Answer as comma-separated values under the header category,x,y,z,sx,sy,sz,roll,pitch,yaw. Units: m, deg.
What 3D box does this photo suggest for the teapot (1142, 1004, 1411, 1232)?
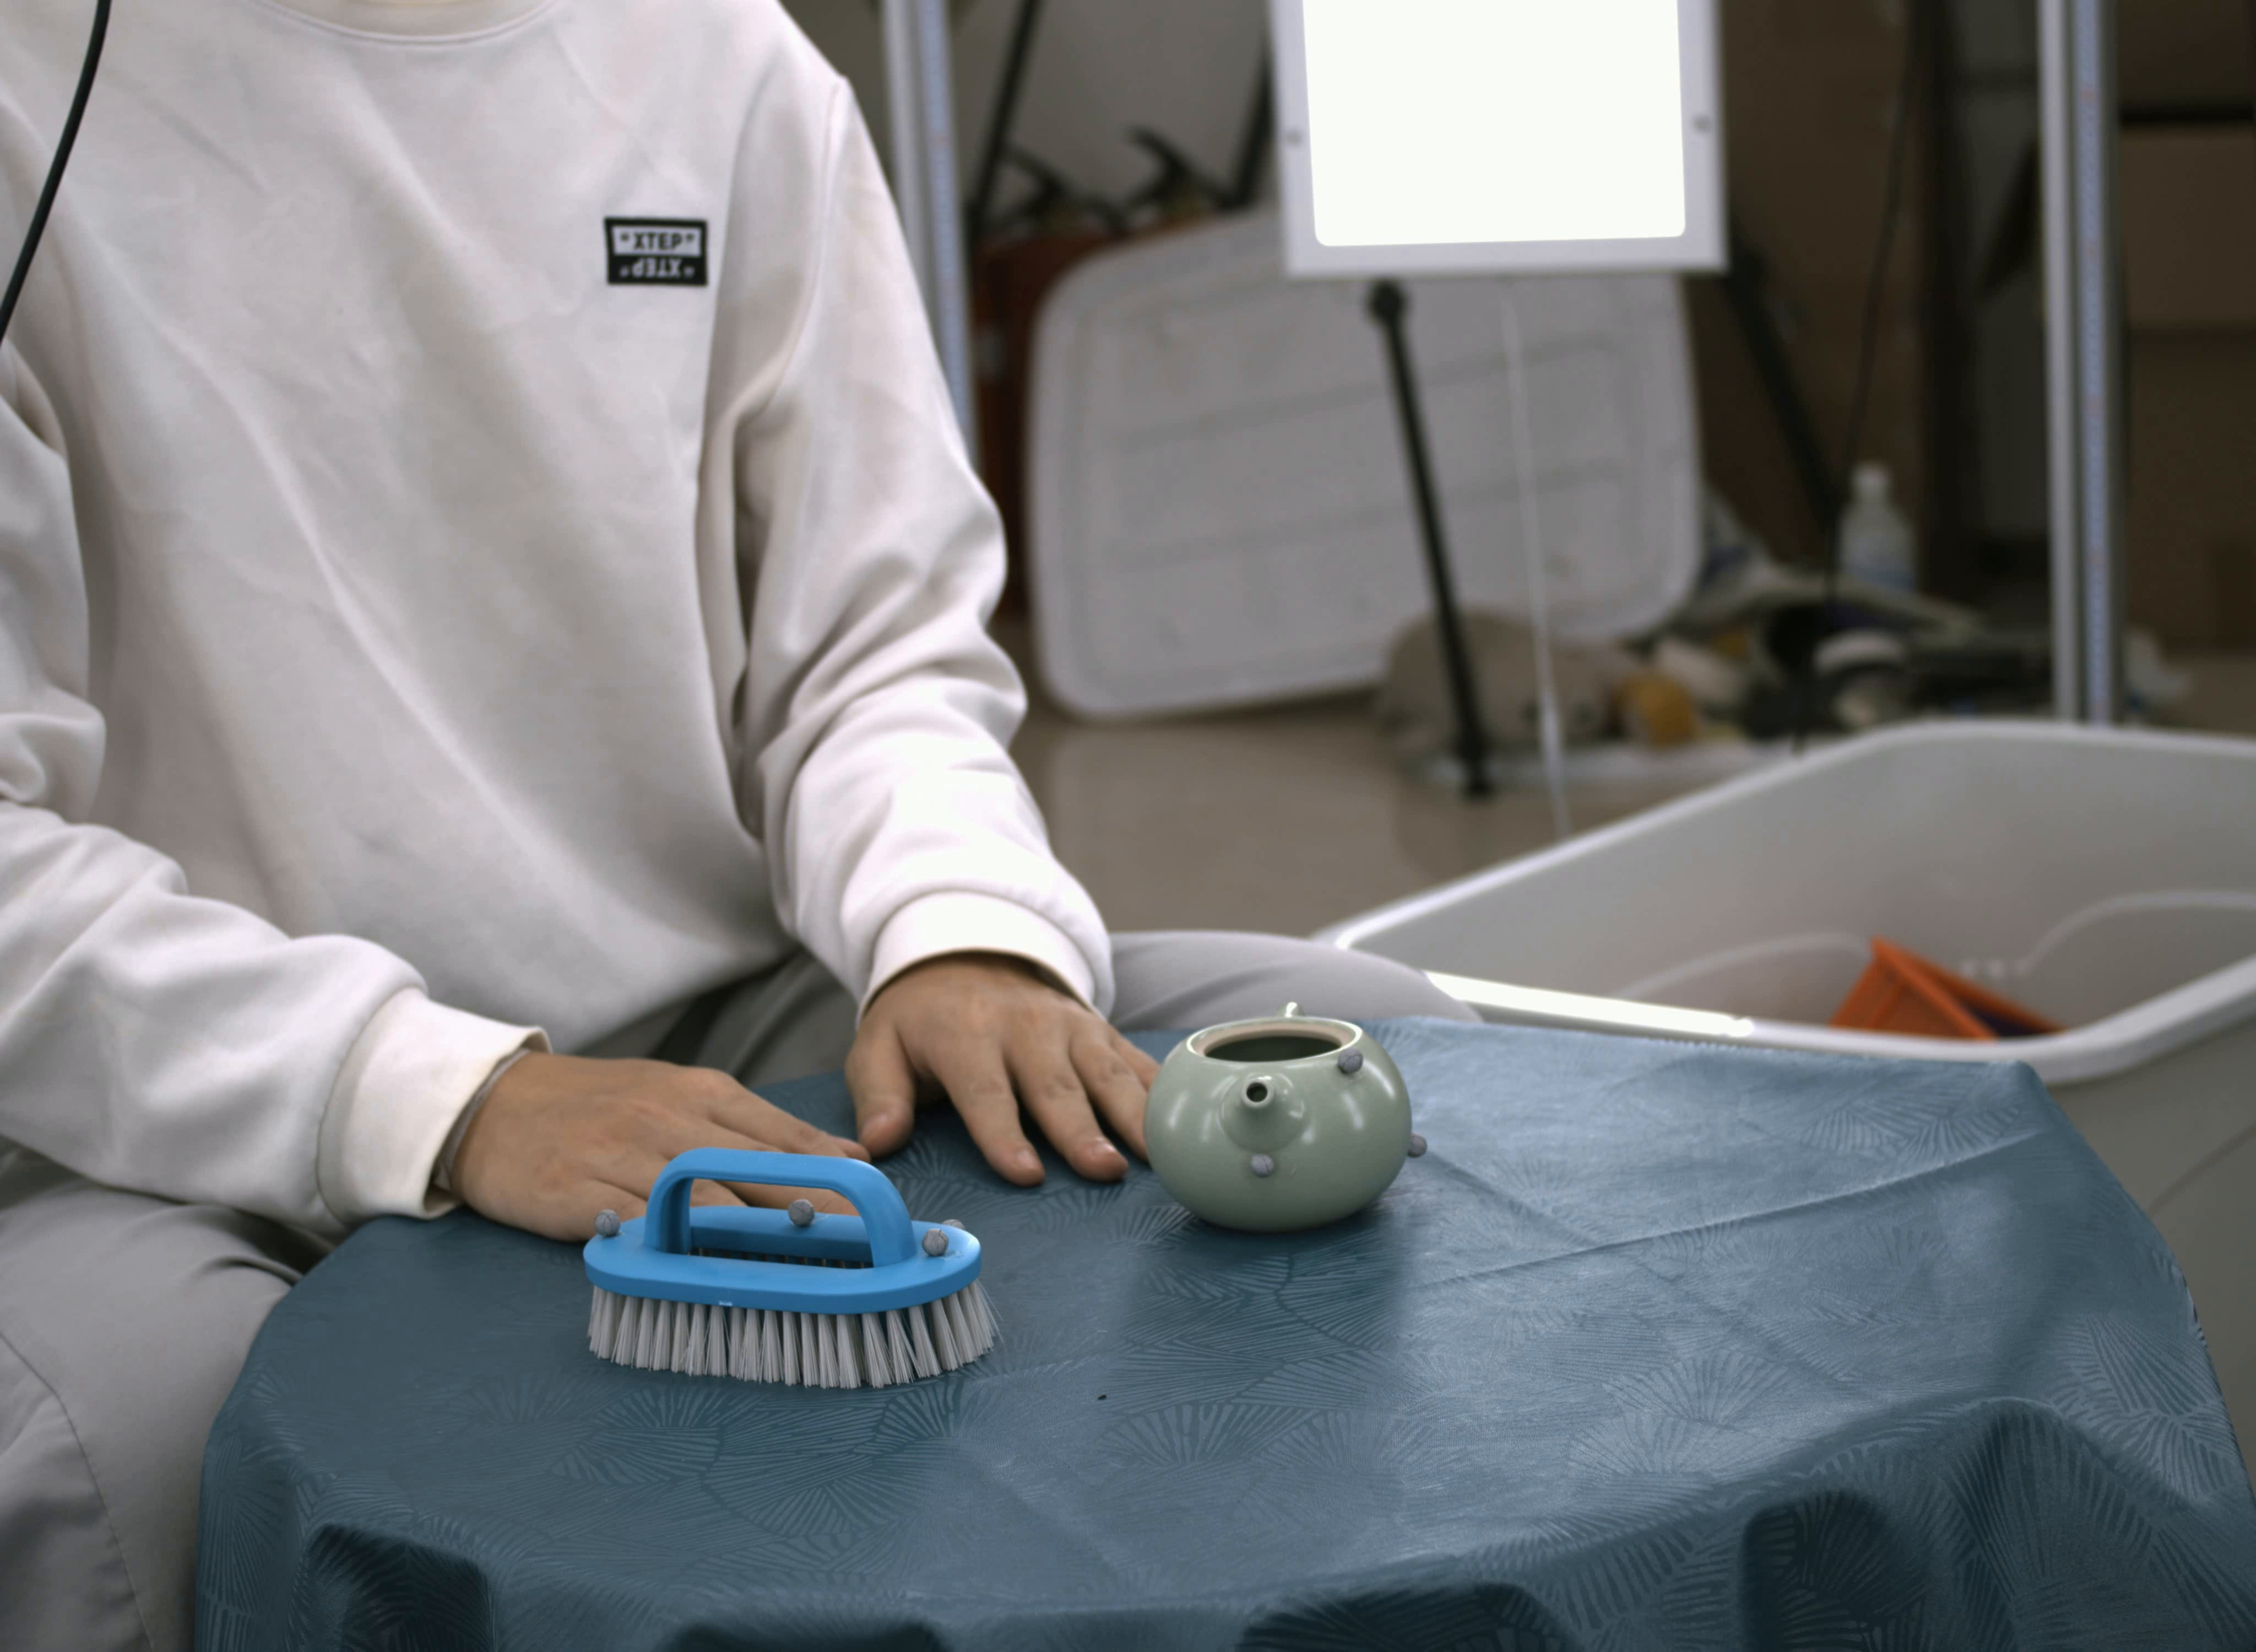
category,x,y,z,sx,sy,sz,roll,pitch,yaw
teapot,0.053,0.099,1.871,0.092,0.061,0.127,-4,12,14

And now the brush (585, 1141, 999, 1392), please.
category,x,y,z,sx,sy,sz,roll,pitch,yaw
brush,-0.112,0.134,1.769,0.144,0.064,0.082,2,21,31
